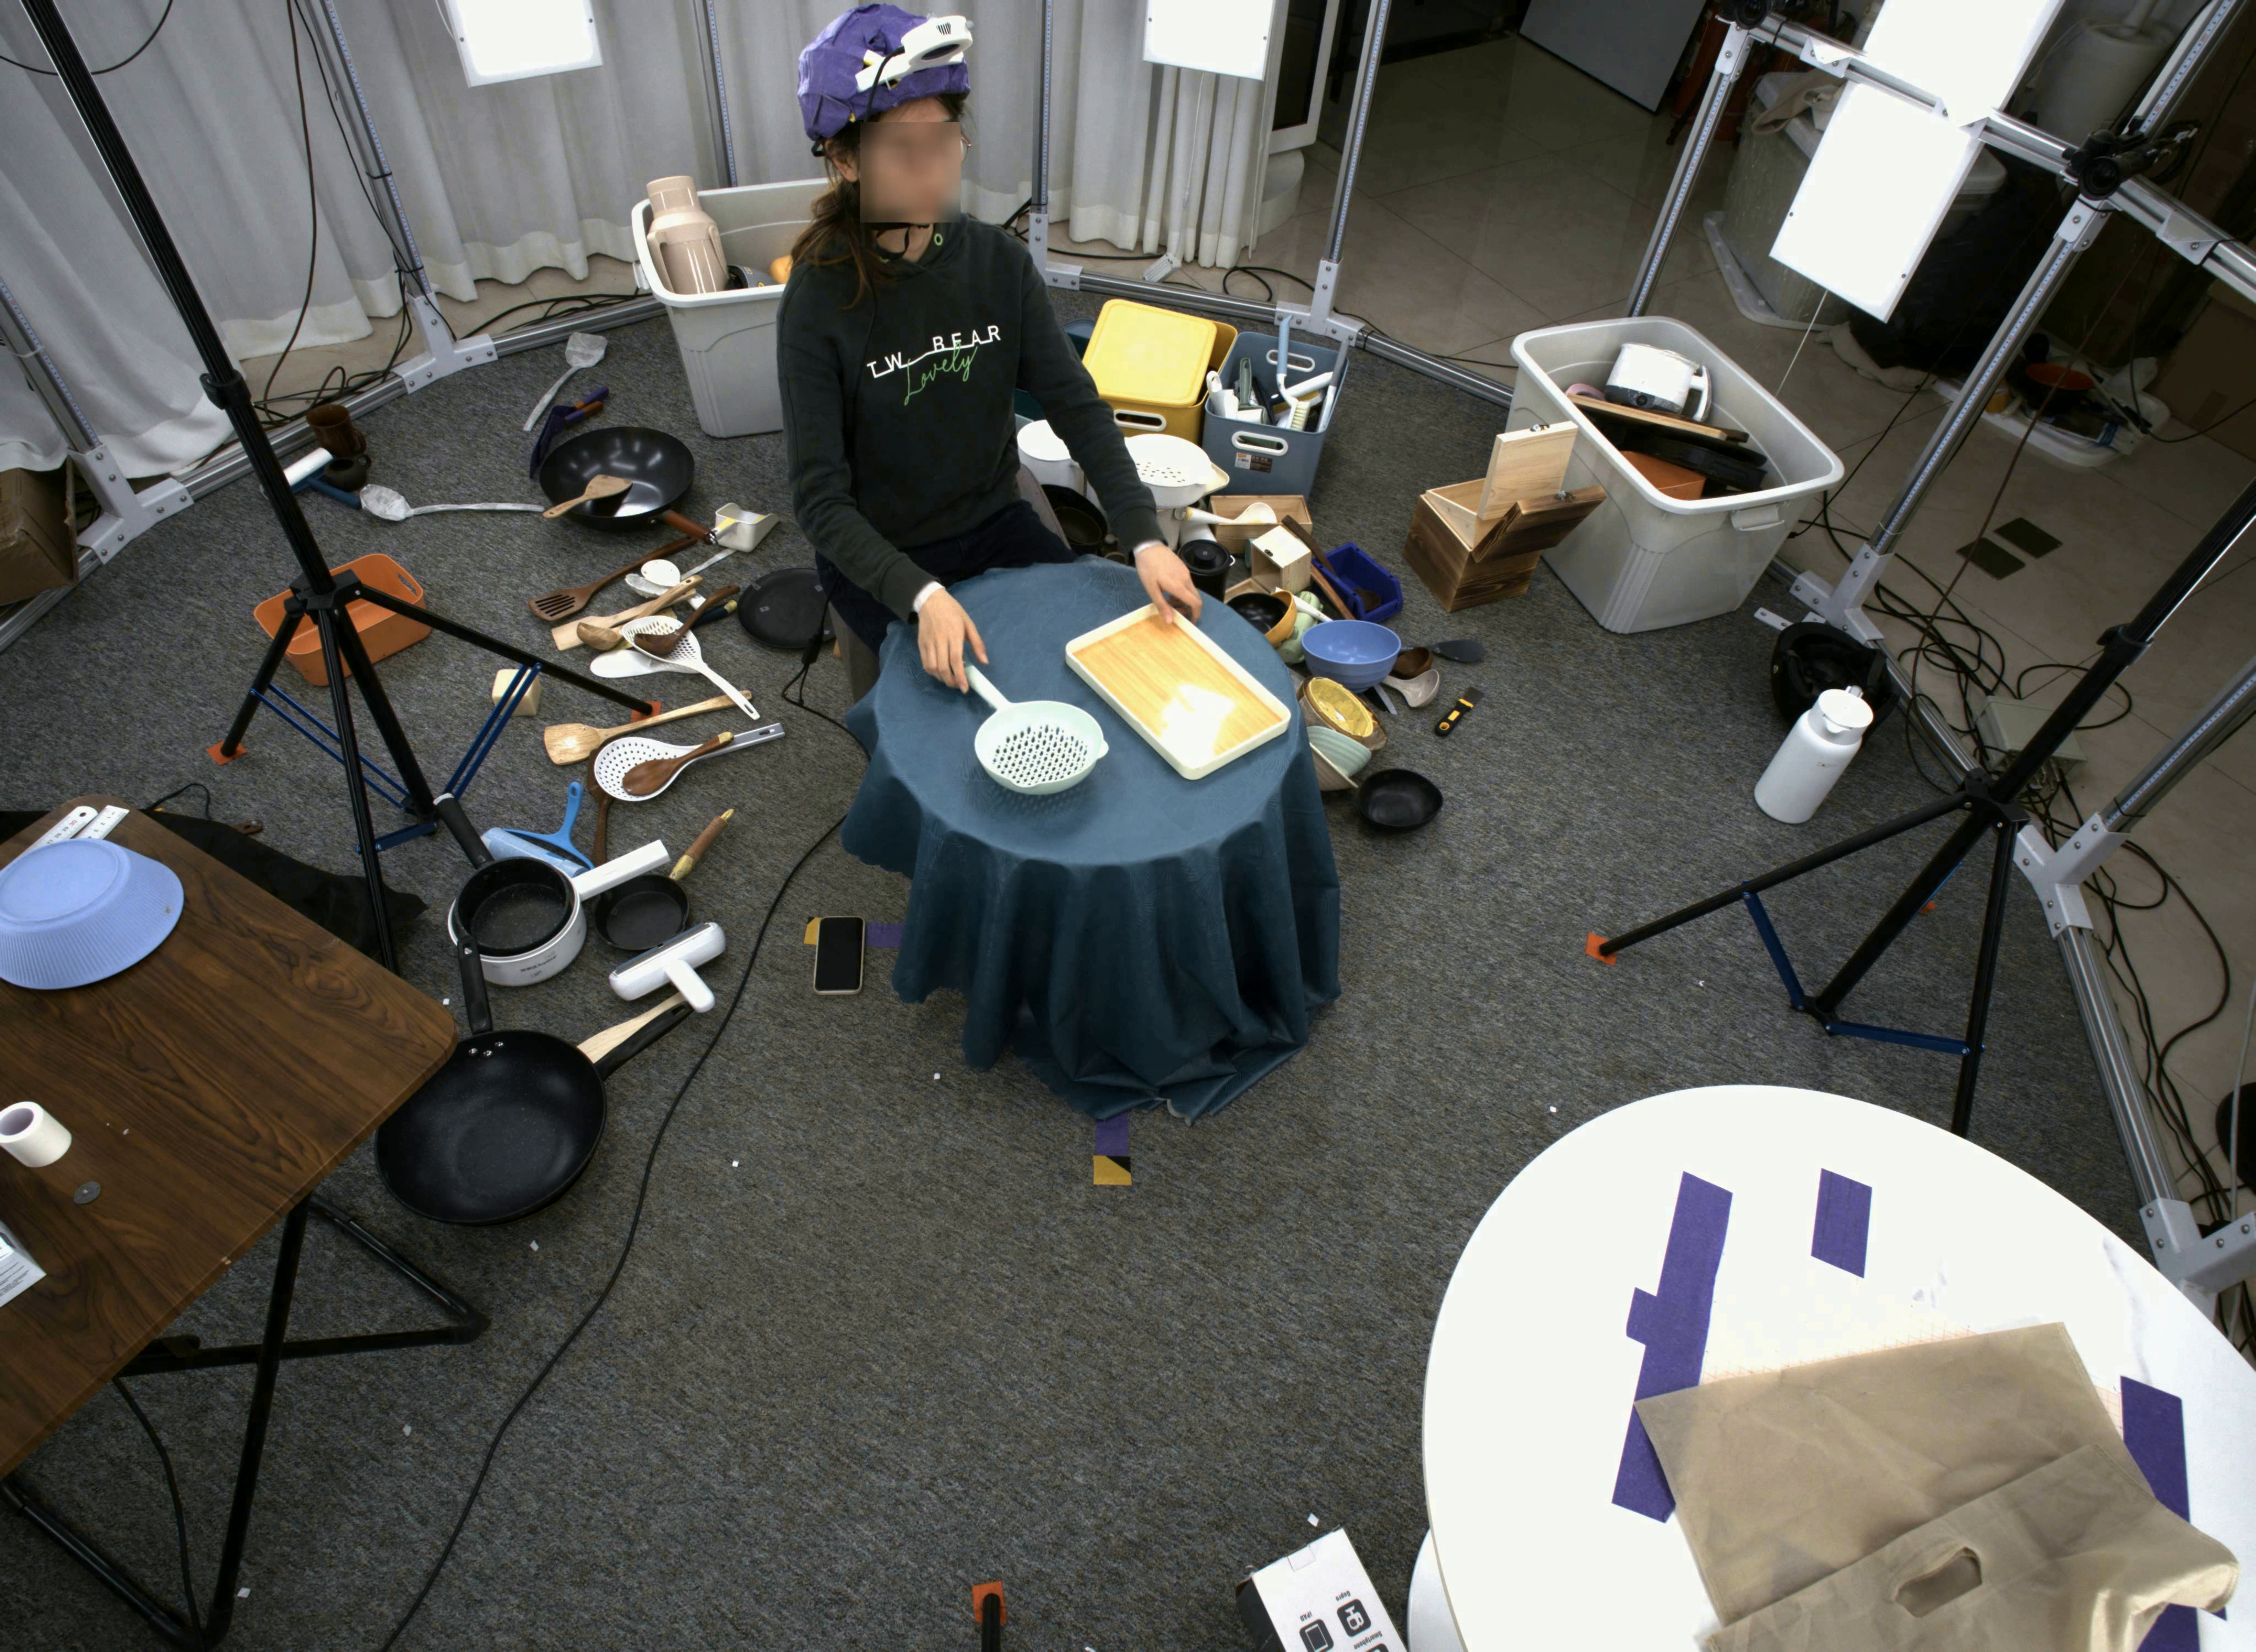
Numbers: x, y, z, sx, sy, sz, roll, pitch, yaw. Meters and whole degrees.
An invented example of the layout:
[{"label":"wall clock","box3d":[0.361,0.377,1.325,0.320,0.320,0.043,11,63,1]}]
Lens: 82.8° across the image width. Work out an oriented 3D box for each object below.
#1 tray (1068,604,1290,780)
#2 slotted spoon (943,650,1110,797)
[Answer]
[{"label":"tray","box3d":[0.070,-0.199,1.845,0.192,0.027,0.306,-28,56,-25]},{"label":"slotted spoon","box3d":[-0.169,-0.158,1.769,0.170,0.073,0.366,-23,54,-23]}]
